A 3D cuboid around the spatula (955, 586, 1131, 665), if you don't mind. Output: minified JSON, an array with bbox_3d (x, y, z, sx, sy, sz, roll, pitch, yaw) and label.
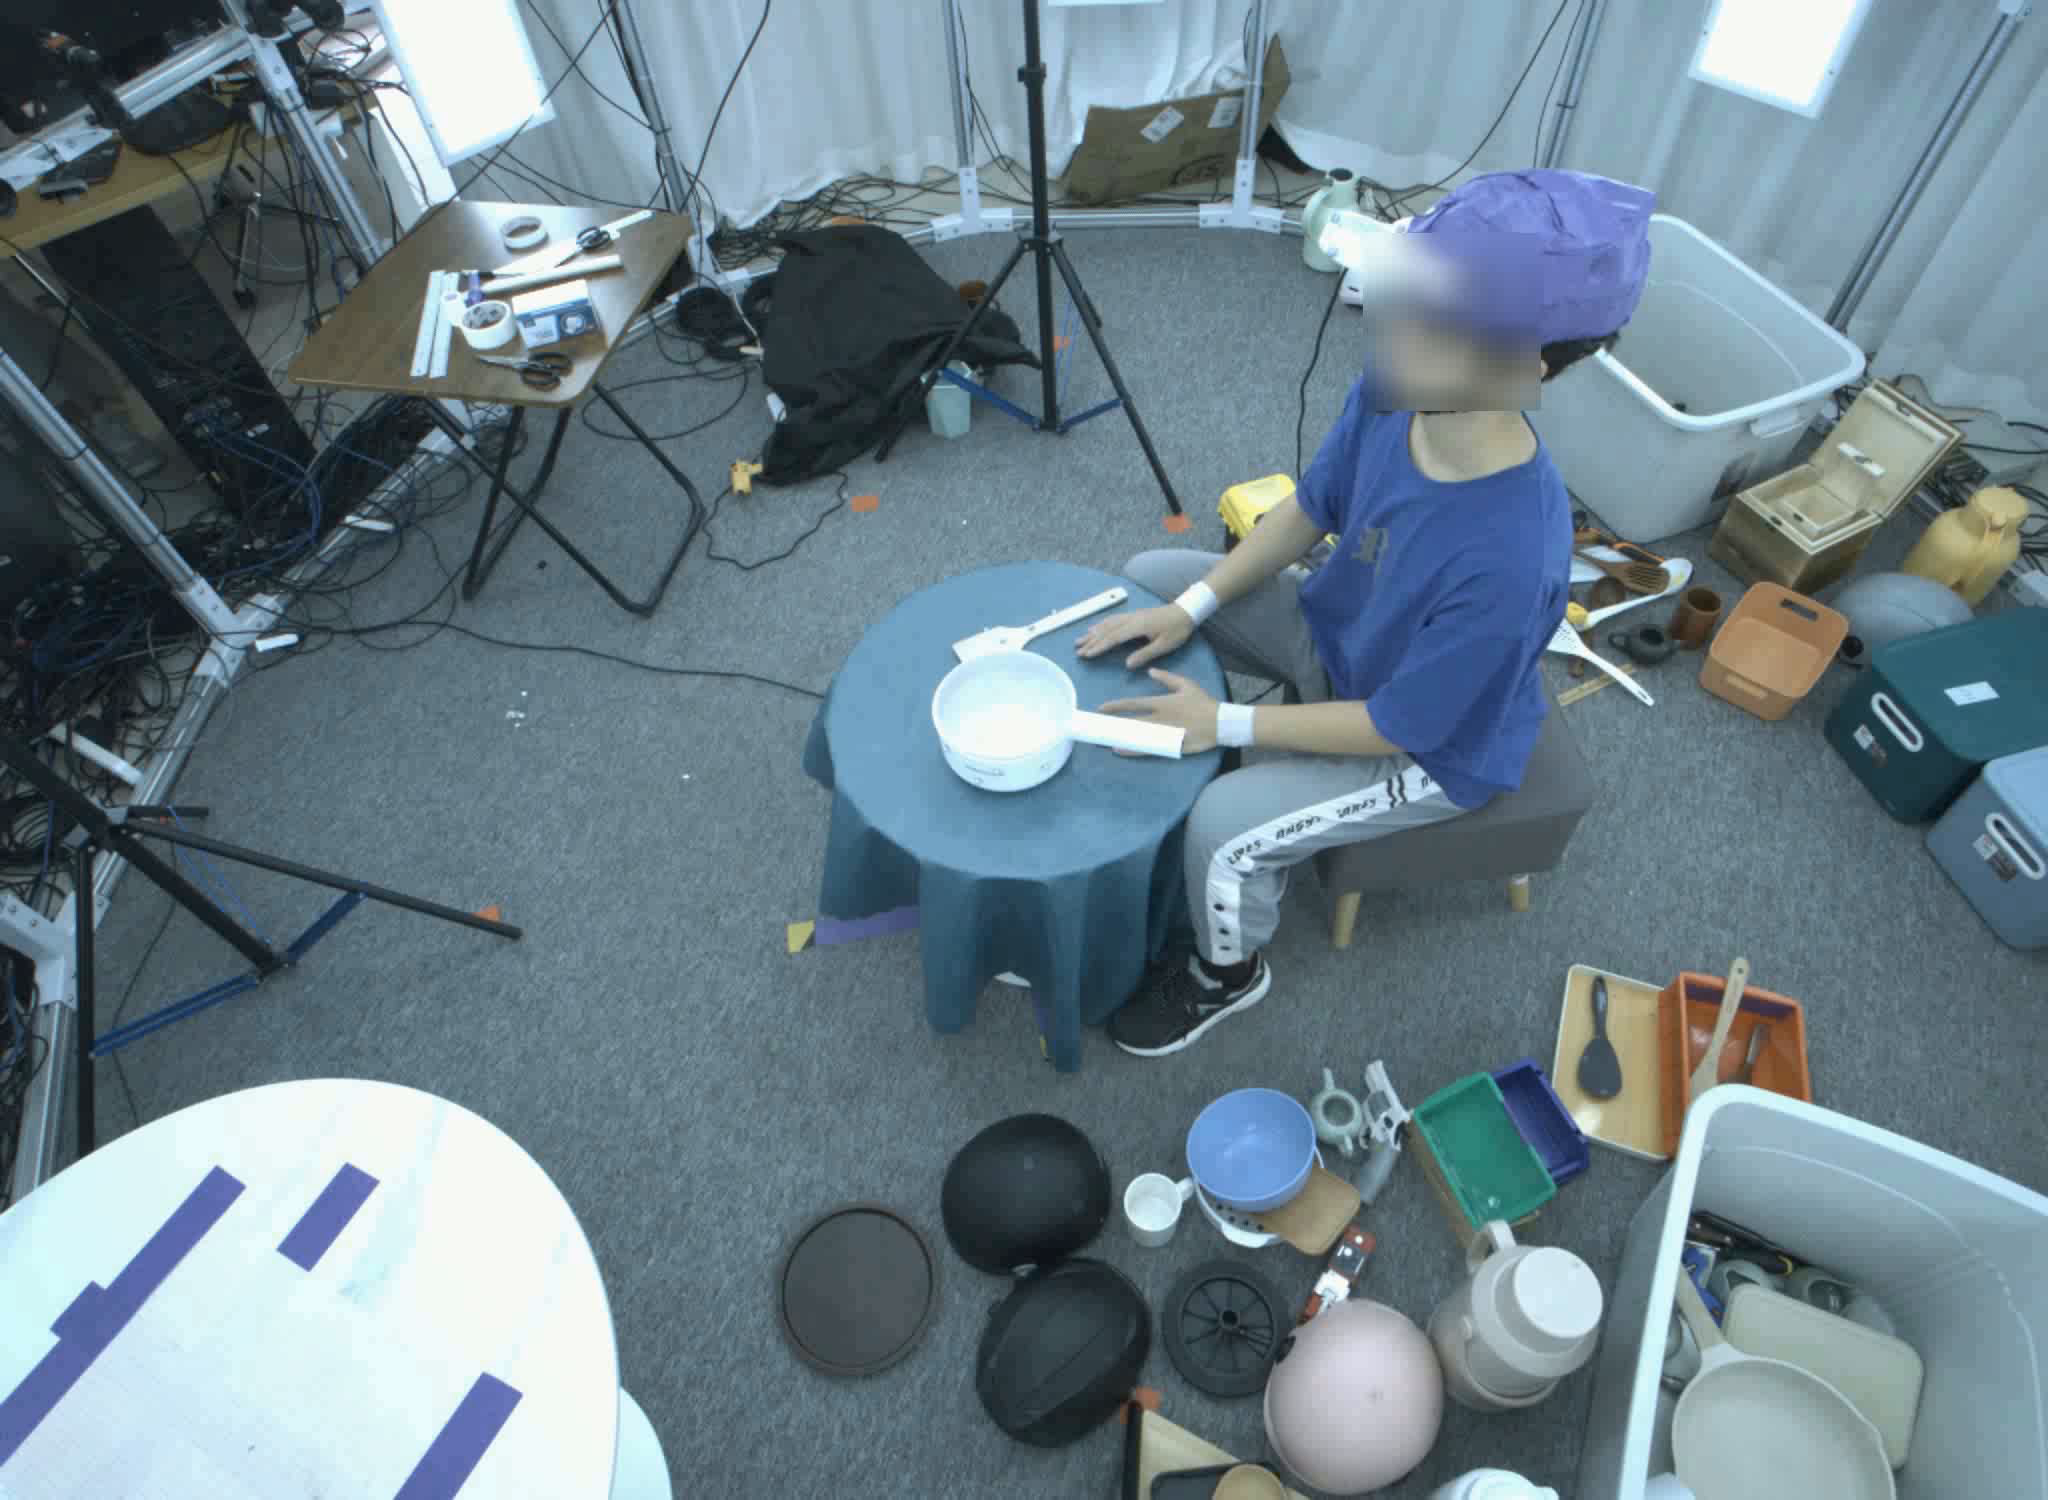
[{"bbox_3d":[0.036,-0.195,1.911,0.295,0.011,0.071,-24,56,-14],"label":"spatula"}]

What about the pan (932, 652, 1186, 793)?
[{"bbox_3d":[0.049,-0.021,1.731,0.352,0.103,0.200,11,53,10],"label":"pan"}]
